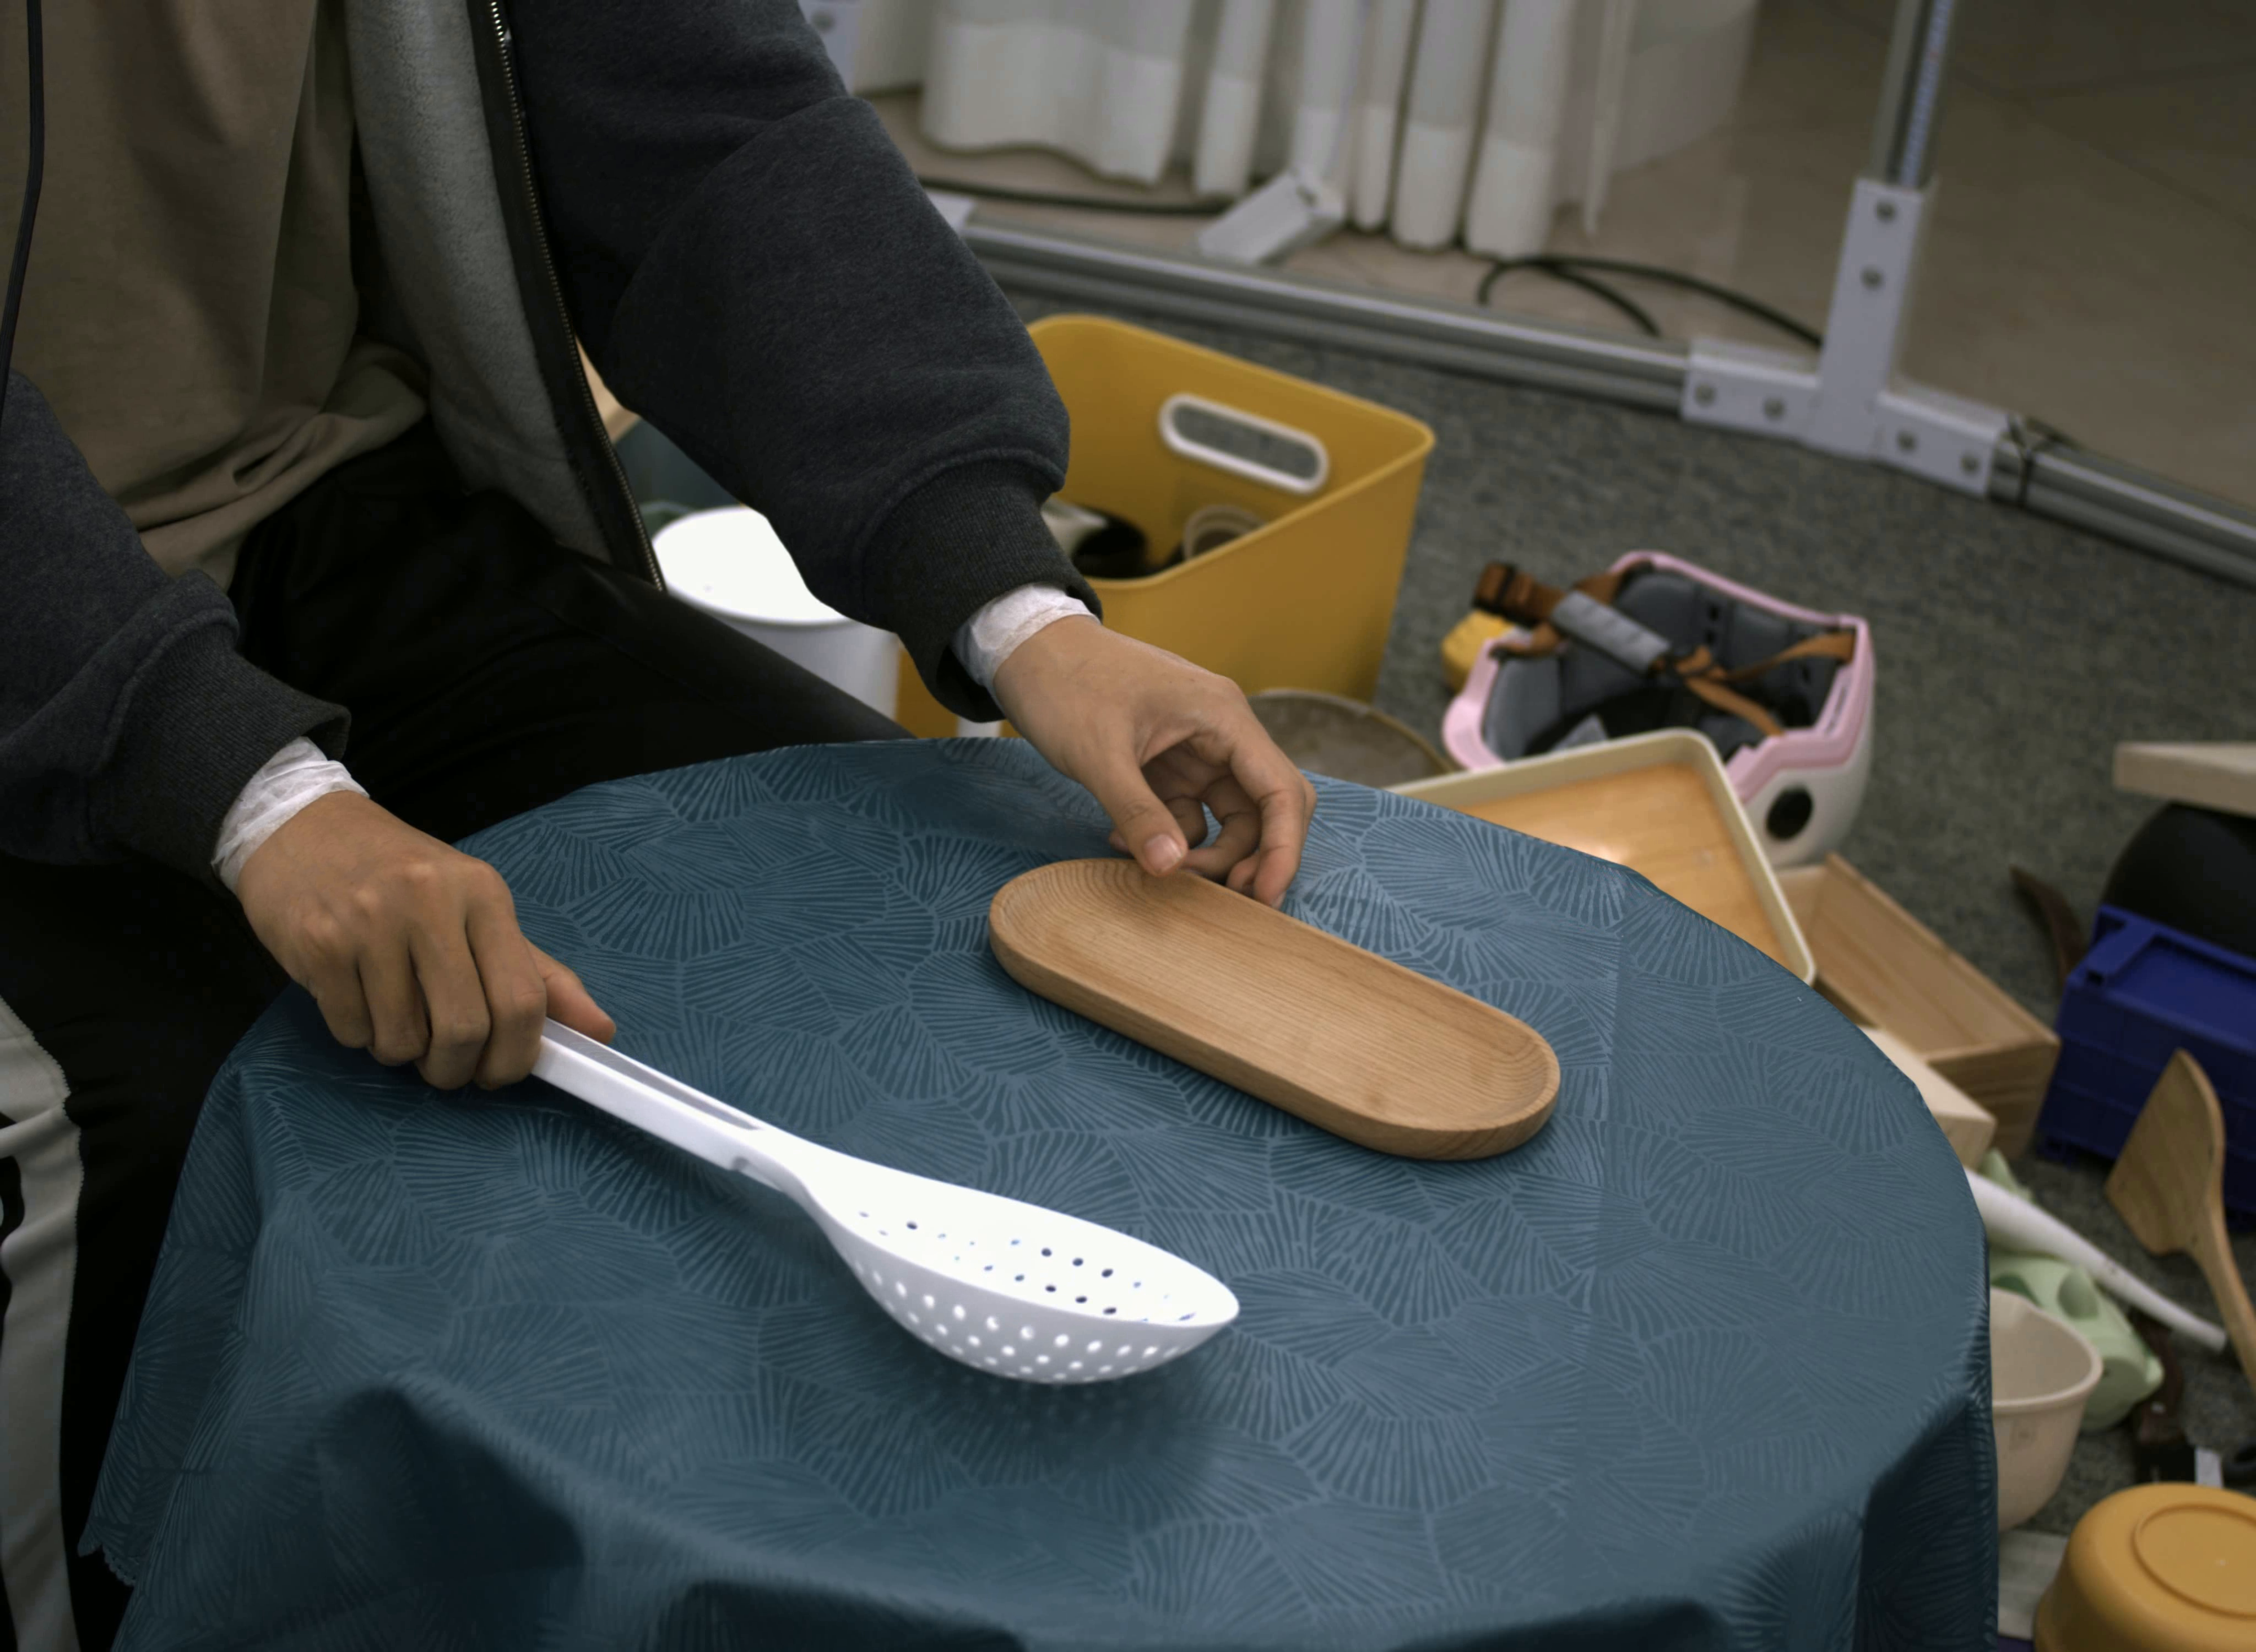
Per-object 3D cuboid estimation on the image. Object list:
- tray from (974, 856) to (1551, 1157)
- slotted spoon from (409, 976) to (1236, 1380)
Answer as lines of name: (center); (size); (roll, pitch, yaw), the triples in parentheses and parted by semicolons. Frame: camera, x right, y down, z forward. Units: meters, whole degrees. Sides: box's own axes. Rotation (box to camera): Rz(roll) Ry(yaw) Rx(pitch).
tray: (0.046, 0.064, 1.911); (0.232, 0.020, 0.101); (22, 30, 30)
slotted spoon: (-0.113, 0.109, 1.745); (0.352, 0.046, 0.135); (27, 11, 37)
